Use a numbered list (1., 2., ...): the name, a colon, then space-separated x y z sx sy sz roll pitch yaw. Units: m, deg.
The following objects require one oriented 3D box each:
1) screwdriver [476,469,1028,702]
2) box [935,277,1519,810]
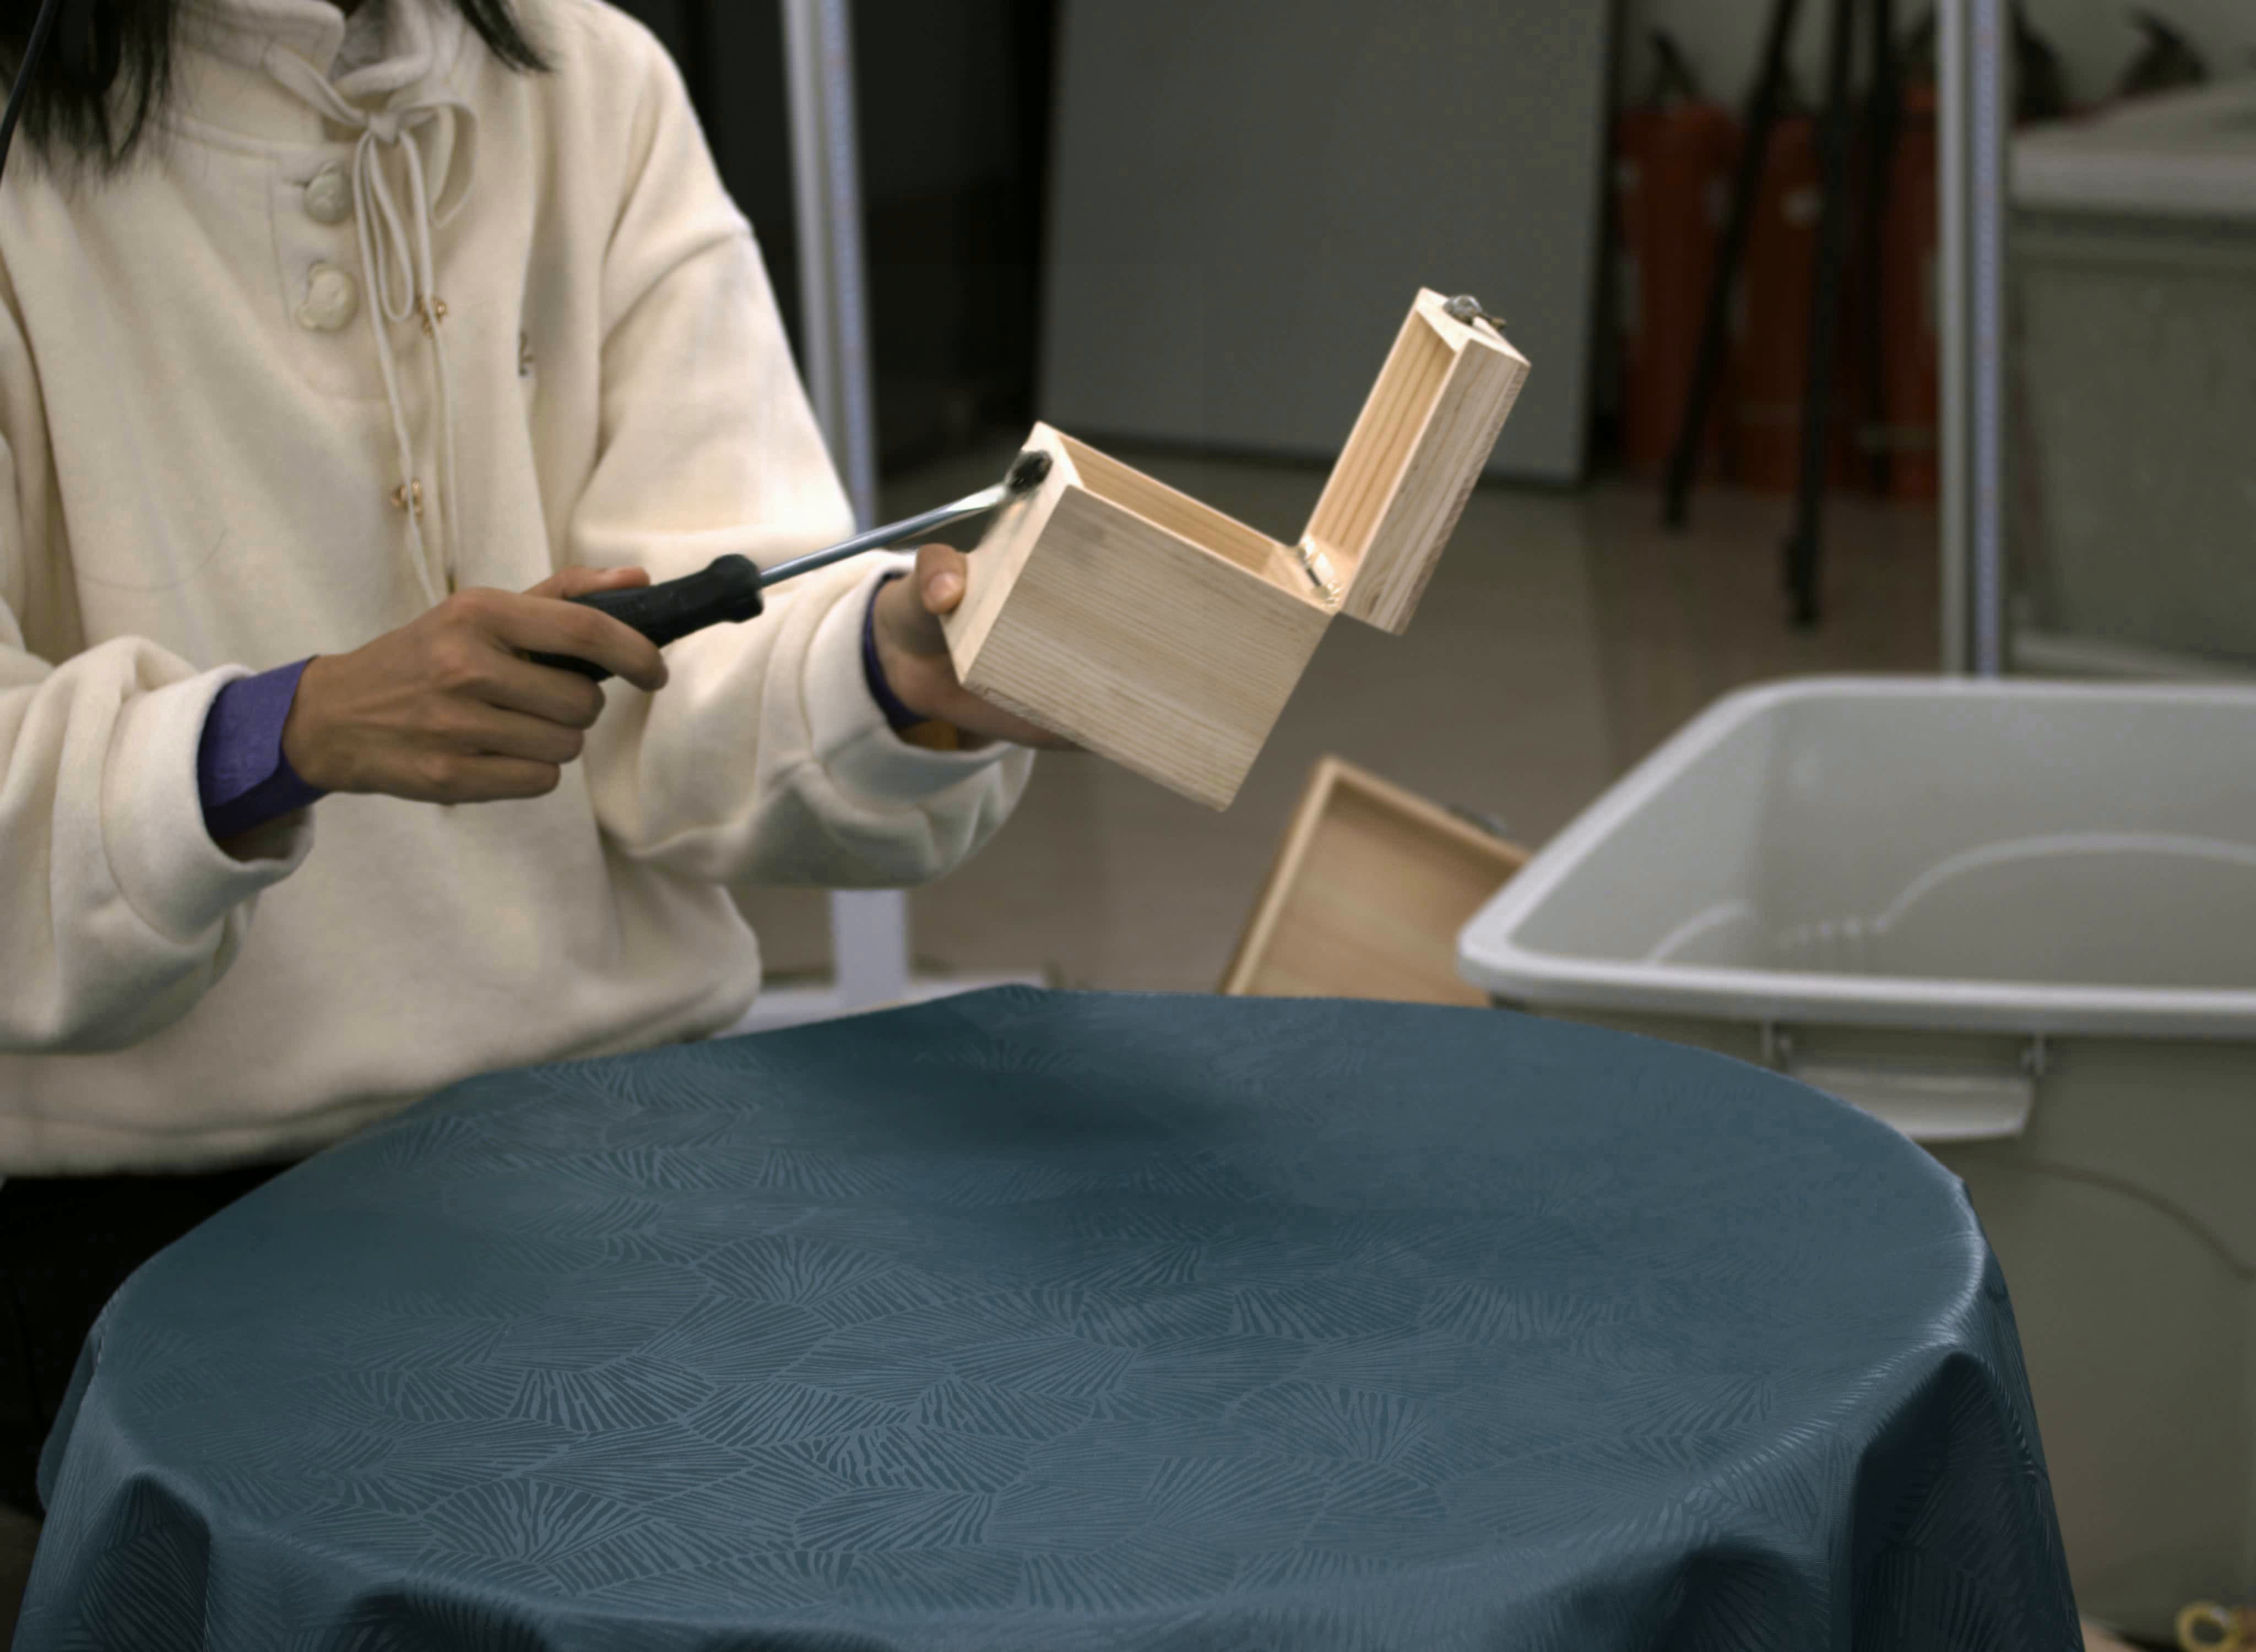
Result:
1. screwdriver: -0.124 -0.080 1.807 0.196 0.032 0.031 -17 12 7
2. box: 0.030 -0.115 1.815 0.132 0.186 0.103 26 12 -11
